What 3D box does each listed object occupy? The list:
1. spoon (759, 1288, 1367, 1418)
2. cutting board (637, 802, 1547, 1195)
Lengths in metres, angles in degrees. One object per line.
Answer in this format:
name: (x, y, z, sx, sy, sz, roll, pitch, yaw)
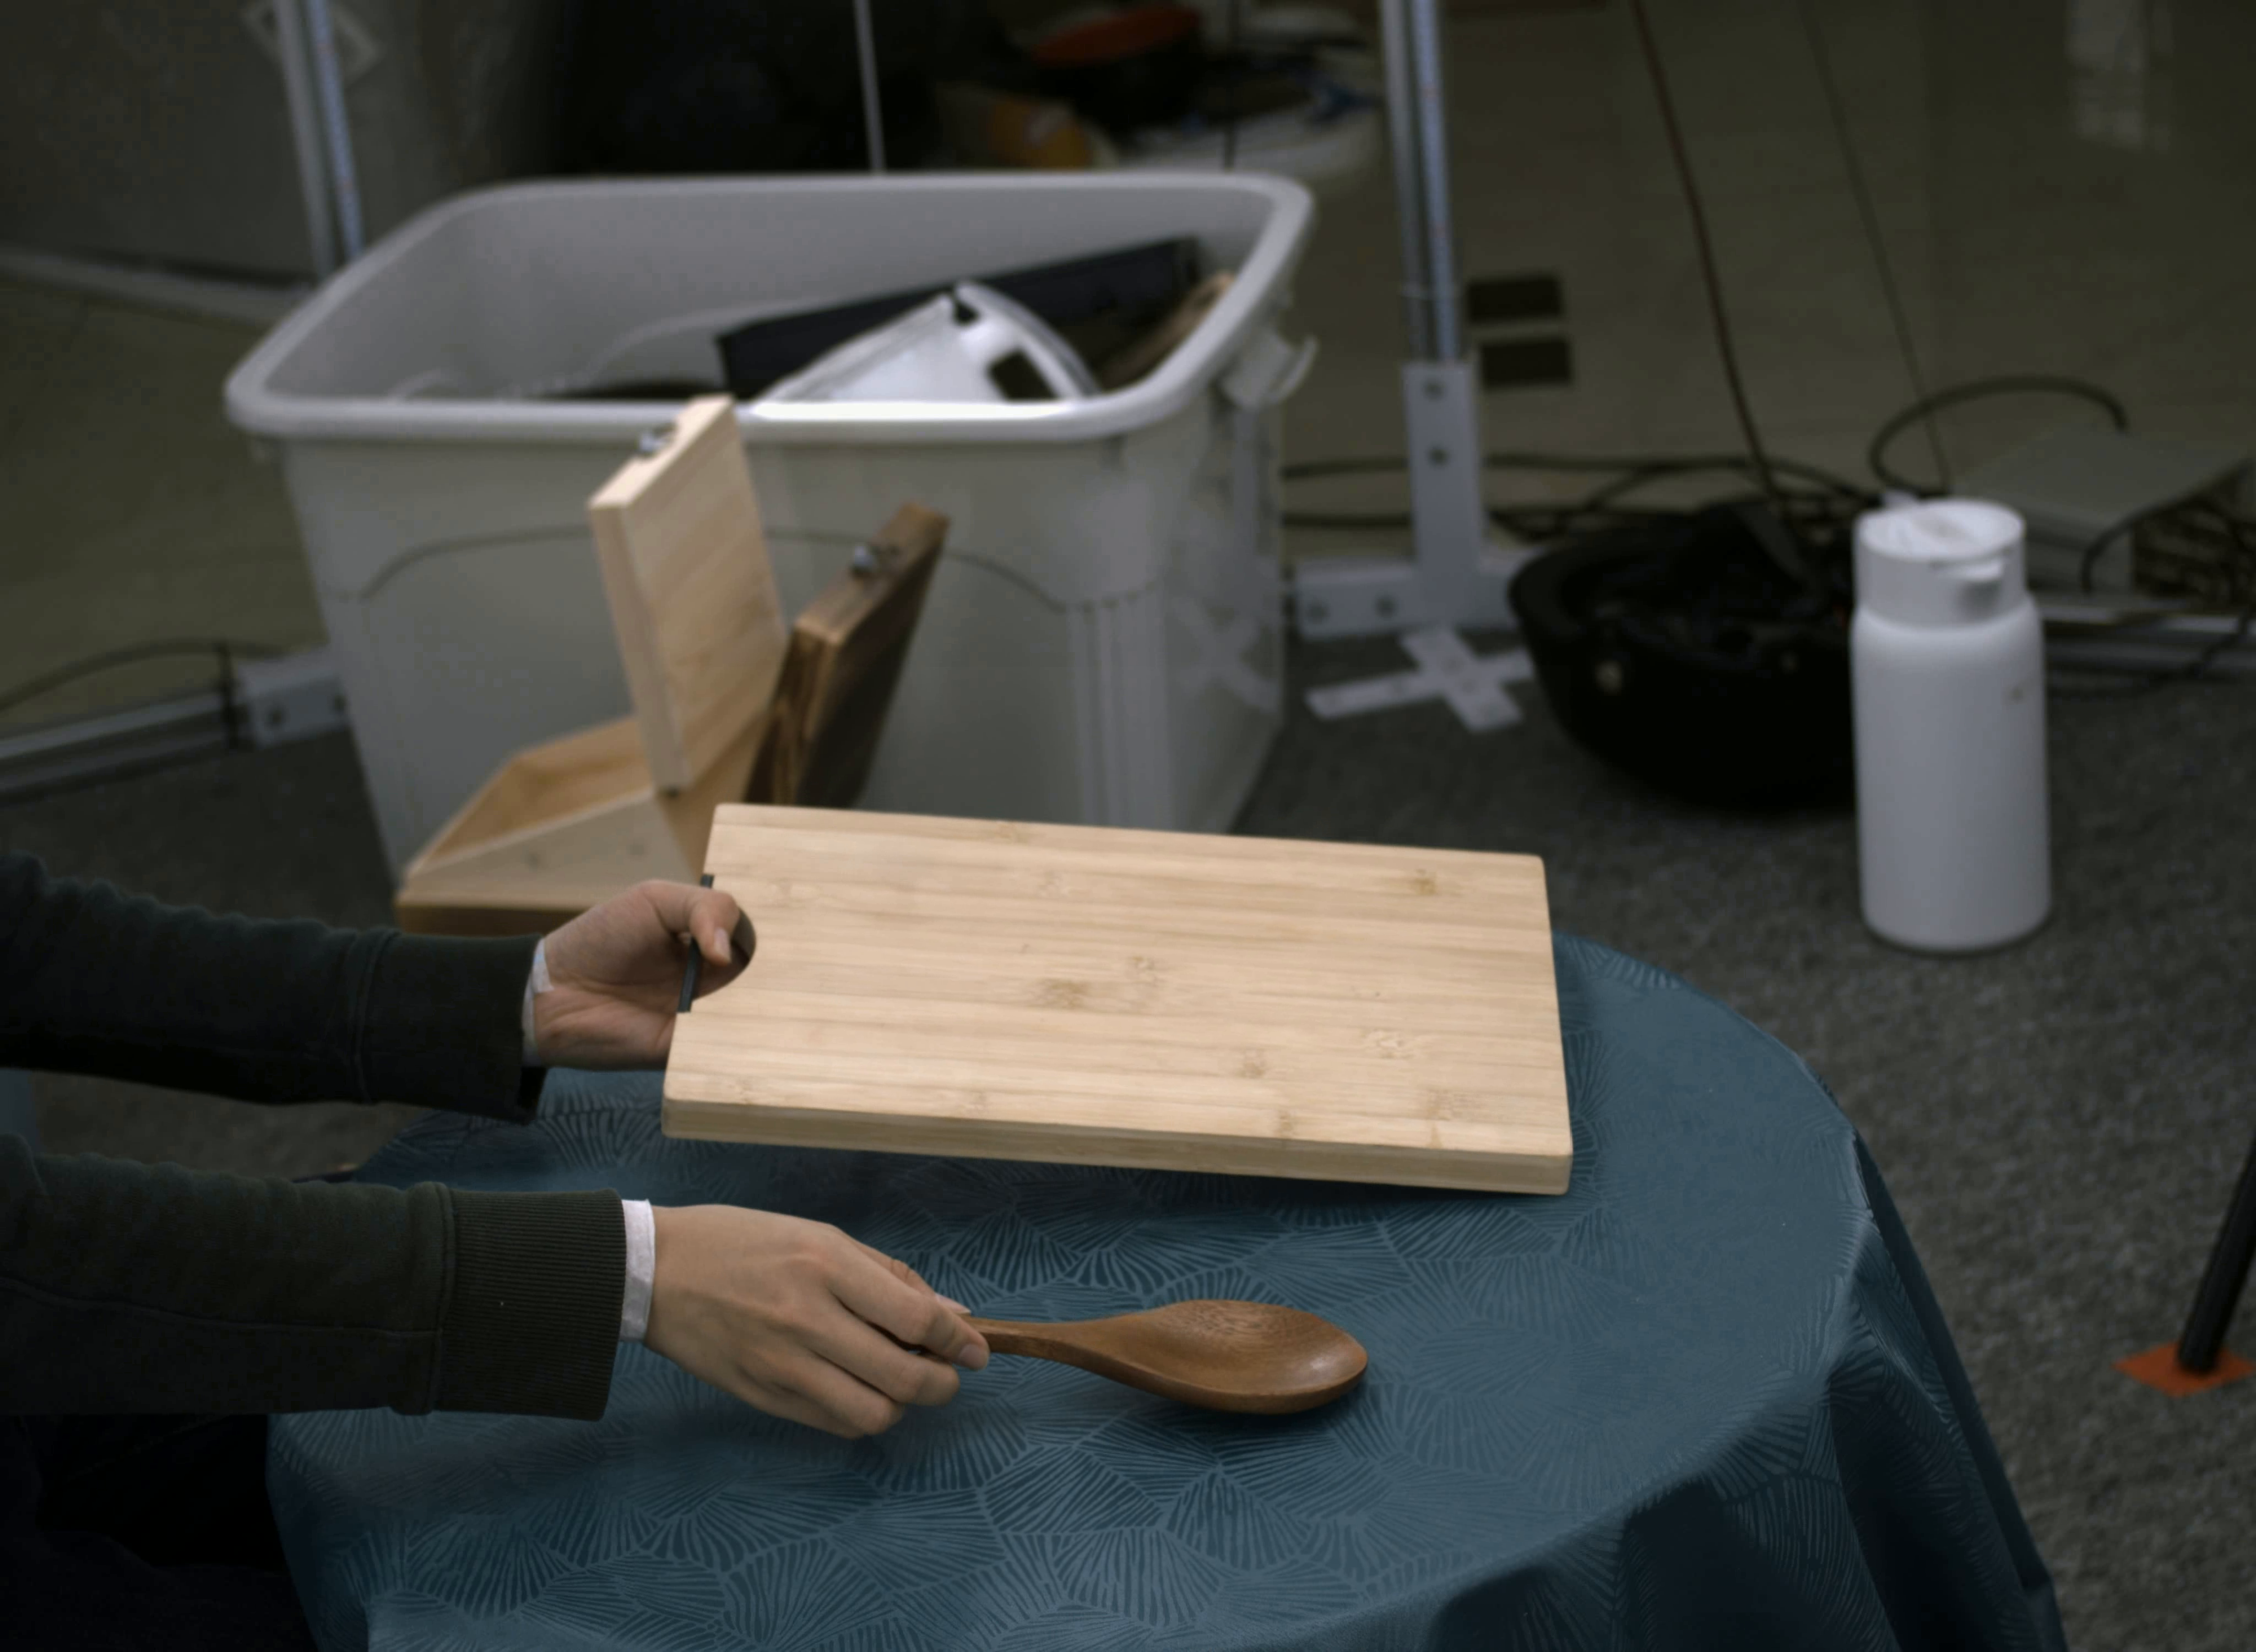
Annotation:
spoon: (-0.023, 0.183, 2.008, 0.215, 0.017, 0.074, 6, 24, 1)
cutting board: (-0.009, 0.065, 2.212, 0.348, 0.024, 0.247, 3, 27, -2)
